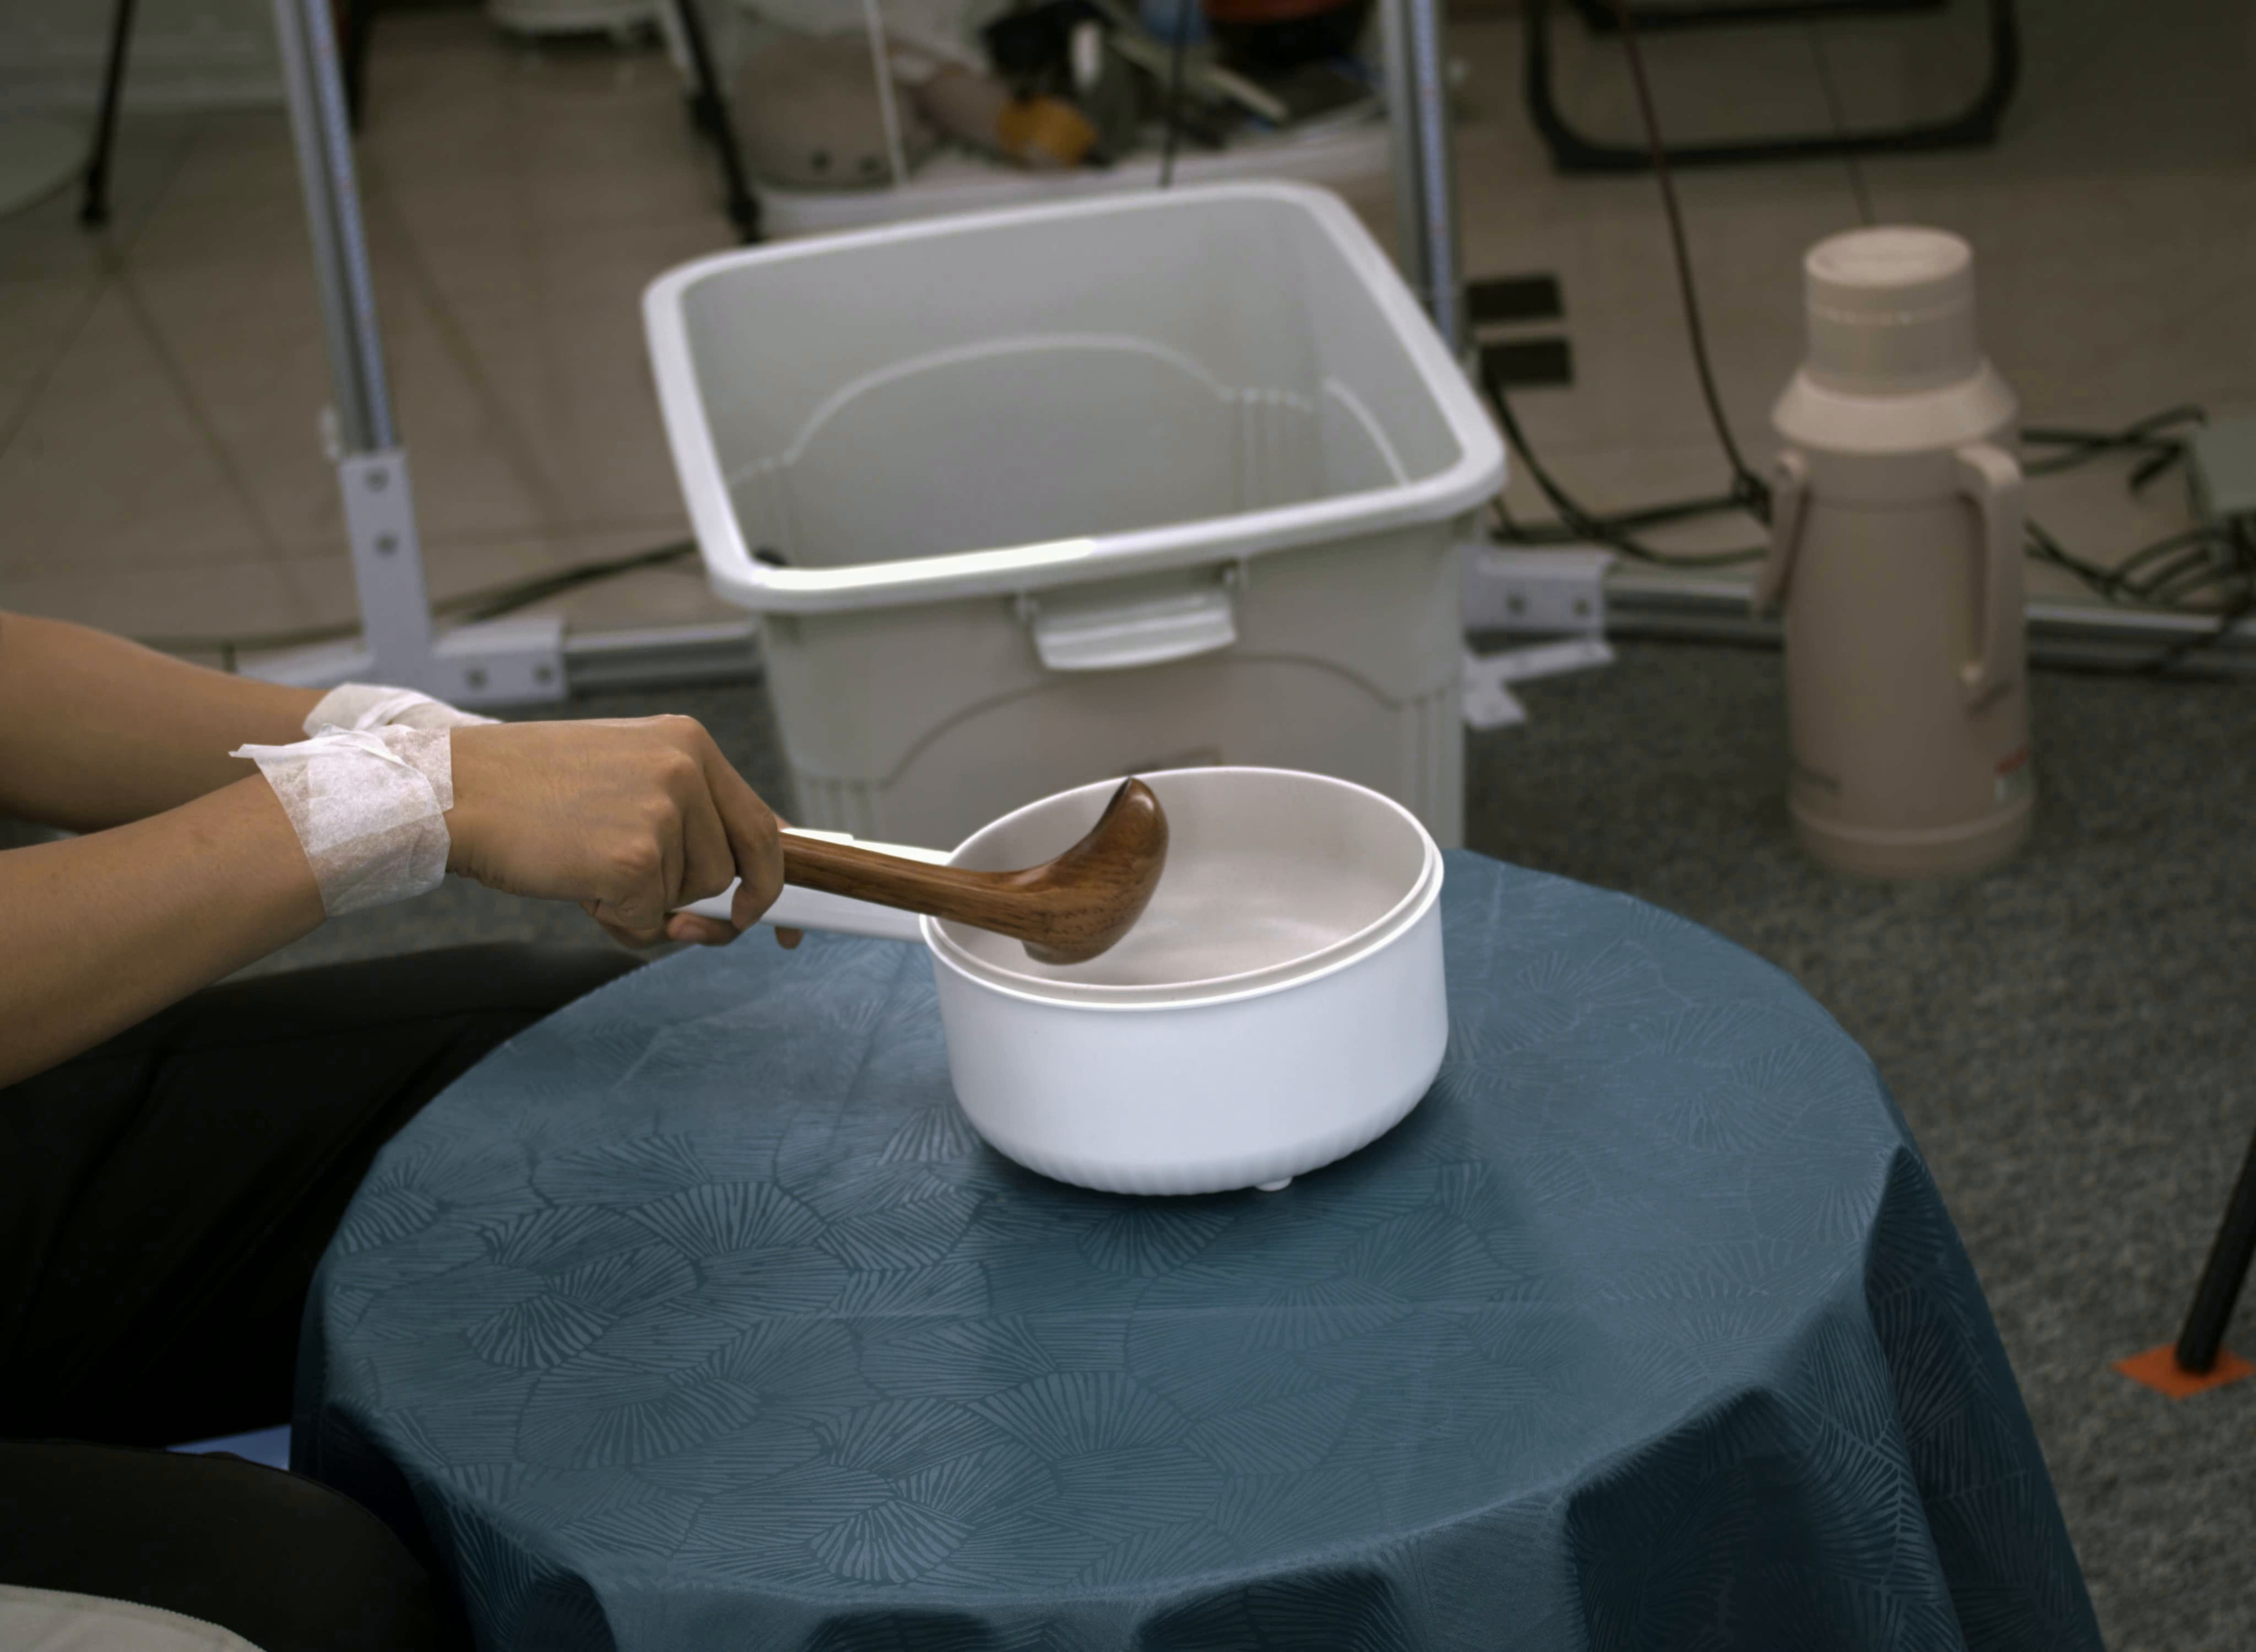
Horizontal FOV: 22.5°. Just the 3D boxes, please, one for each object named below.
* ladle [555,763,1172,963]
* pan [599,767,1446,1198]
[{"bbox_3d":[-0.099,0.004,2.125,0.274,0.083,0.075,7,26,-31],"label":"ladle"},{"bbox_3d":[-0.045,0.058,2.219,0.353,0.104,0.198,6,29,26],"label":"pan"}]
